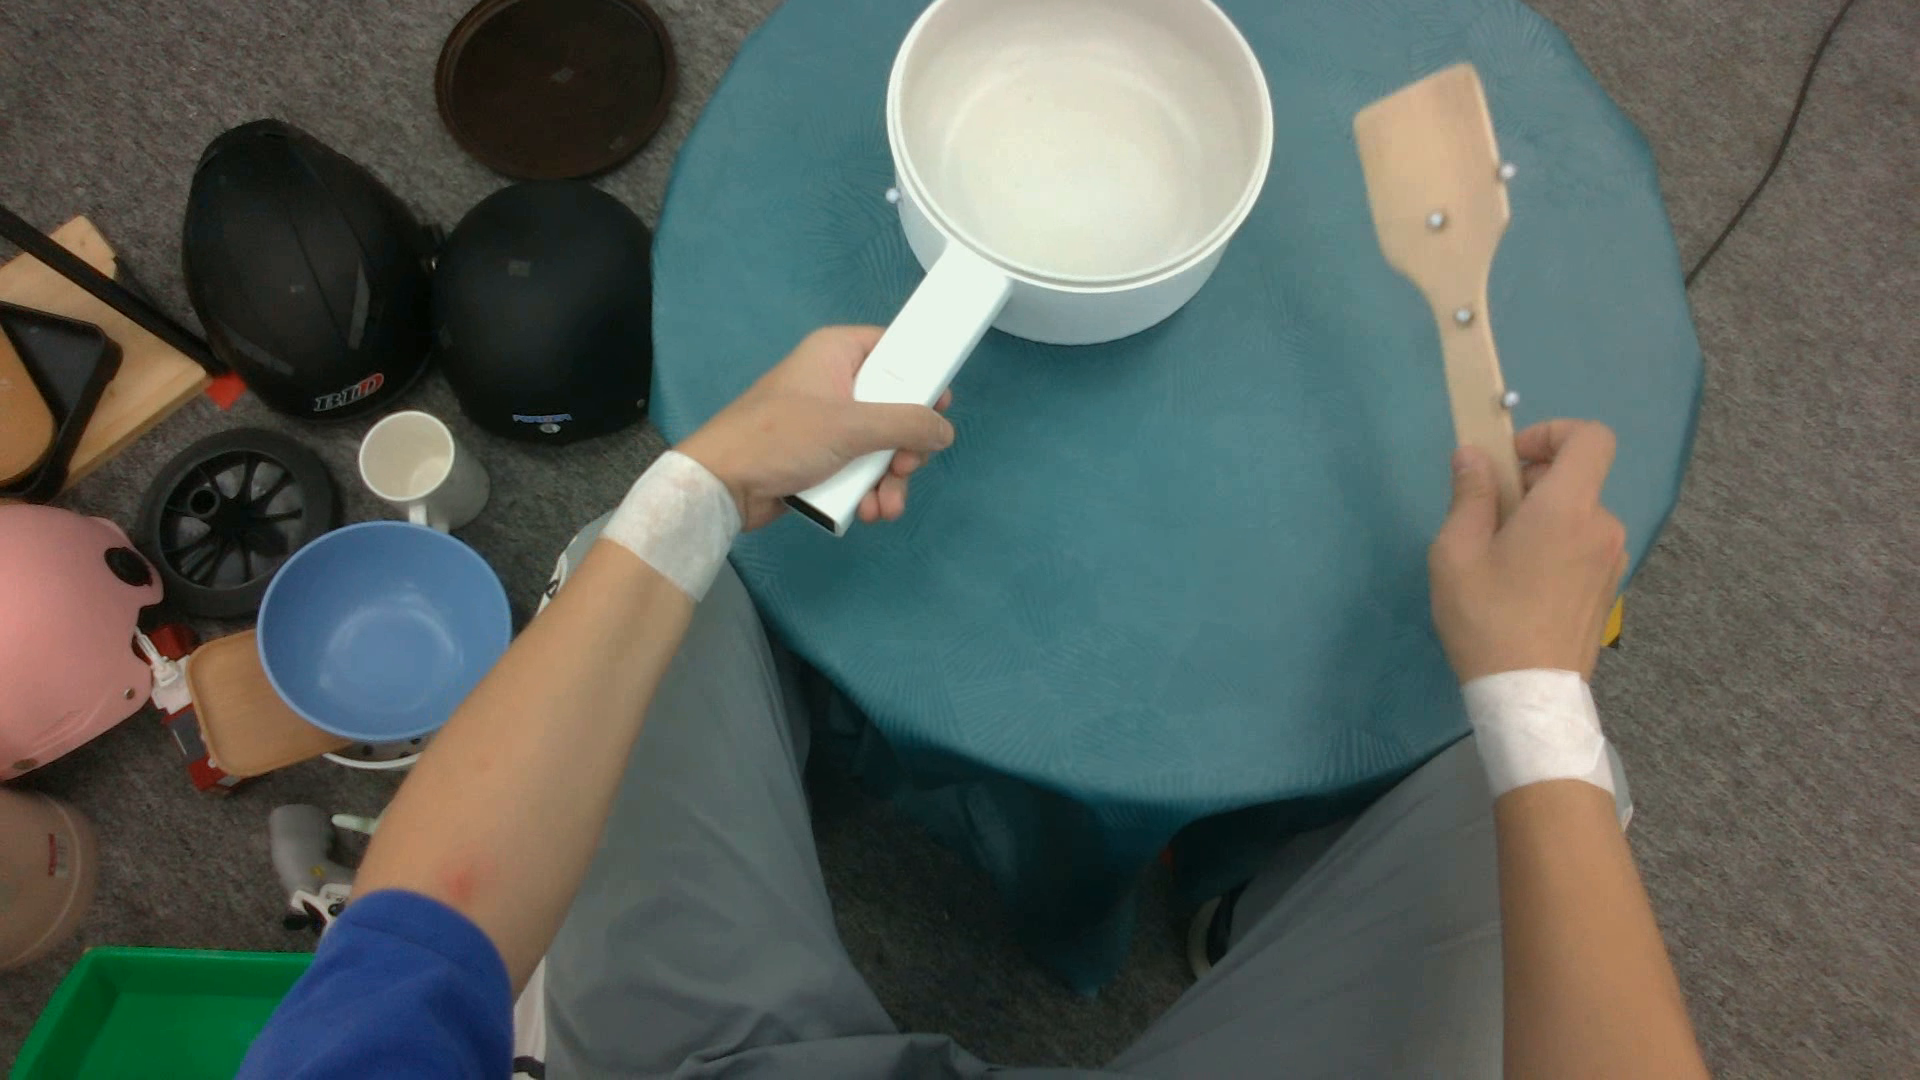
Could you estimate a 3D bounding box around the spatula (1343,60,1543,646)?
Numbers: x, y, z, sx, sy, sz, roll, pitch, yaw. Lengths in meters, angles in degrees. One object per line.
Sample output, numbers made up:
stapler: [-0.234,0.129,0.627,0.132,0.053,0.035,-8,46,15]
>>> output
spatula: [0.252,-0.092,0.694,0.011,0.072,0.293,-5,83,-40]

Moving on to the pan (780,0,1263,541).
pan: [0.019,-0.145,0.753,0.201,0.102,0.356,32,74,4]
